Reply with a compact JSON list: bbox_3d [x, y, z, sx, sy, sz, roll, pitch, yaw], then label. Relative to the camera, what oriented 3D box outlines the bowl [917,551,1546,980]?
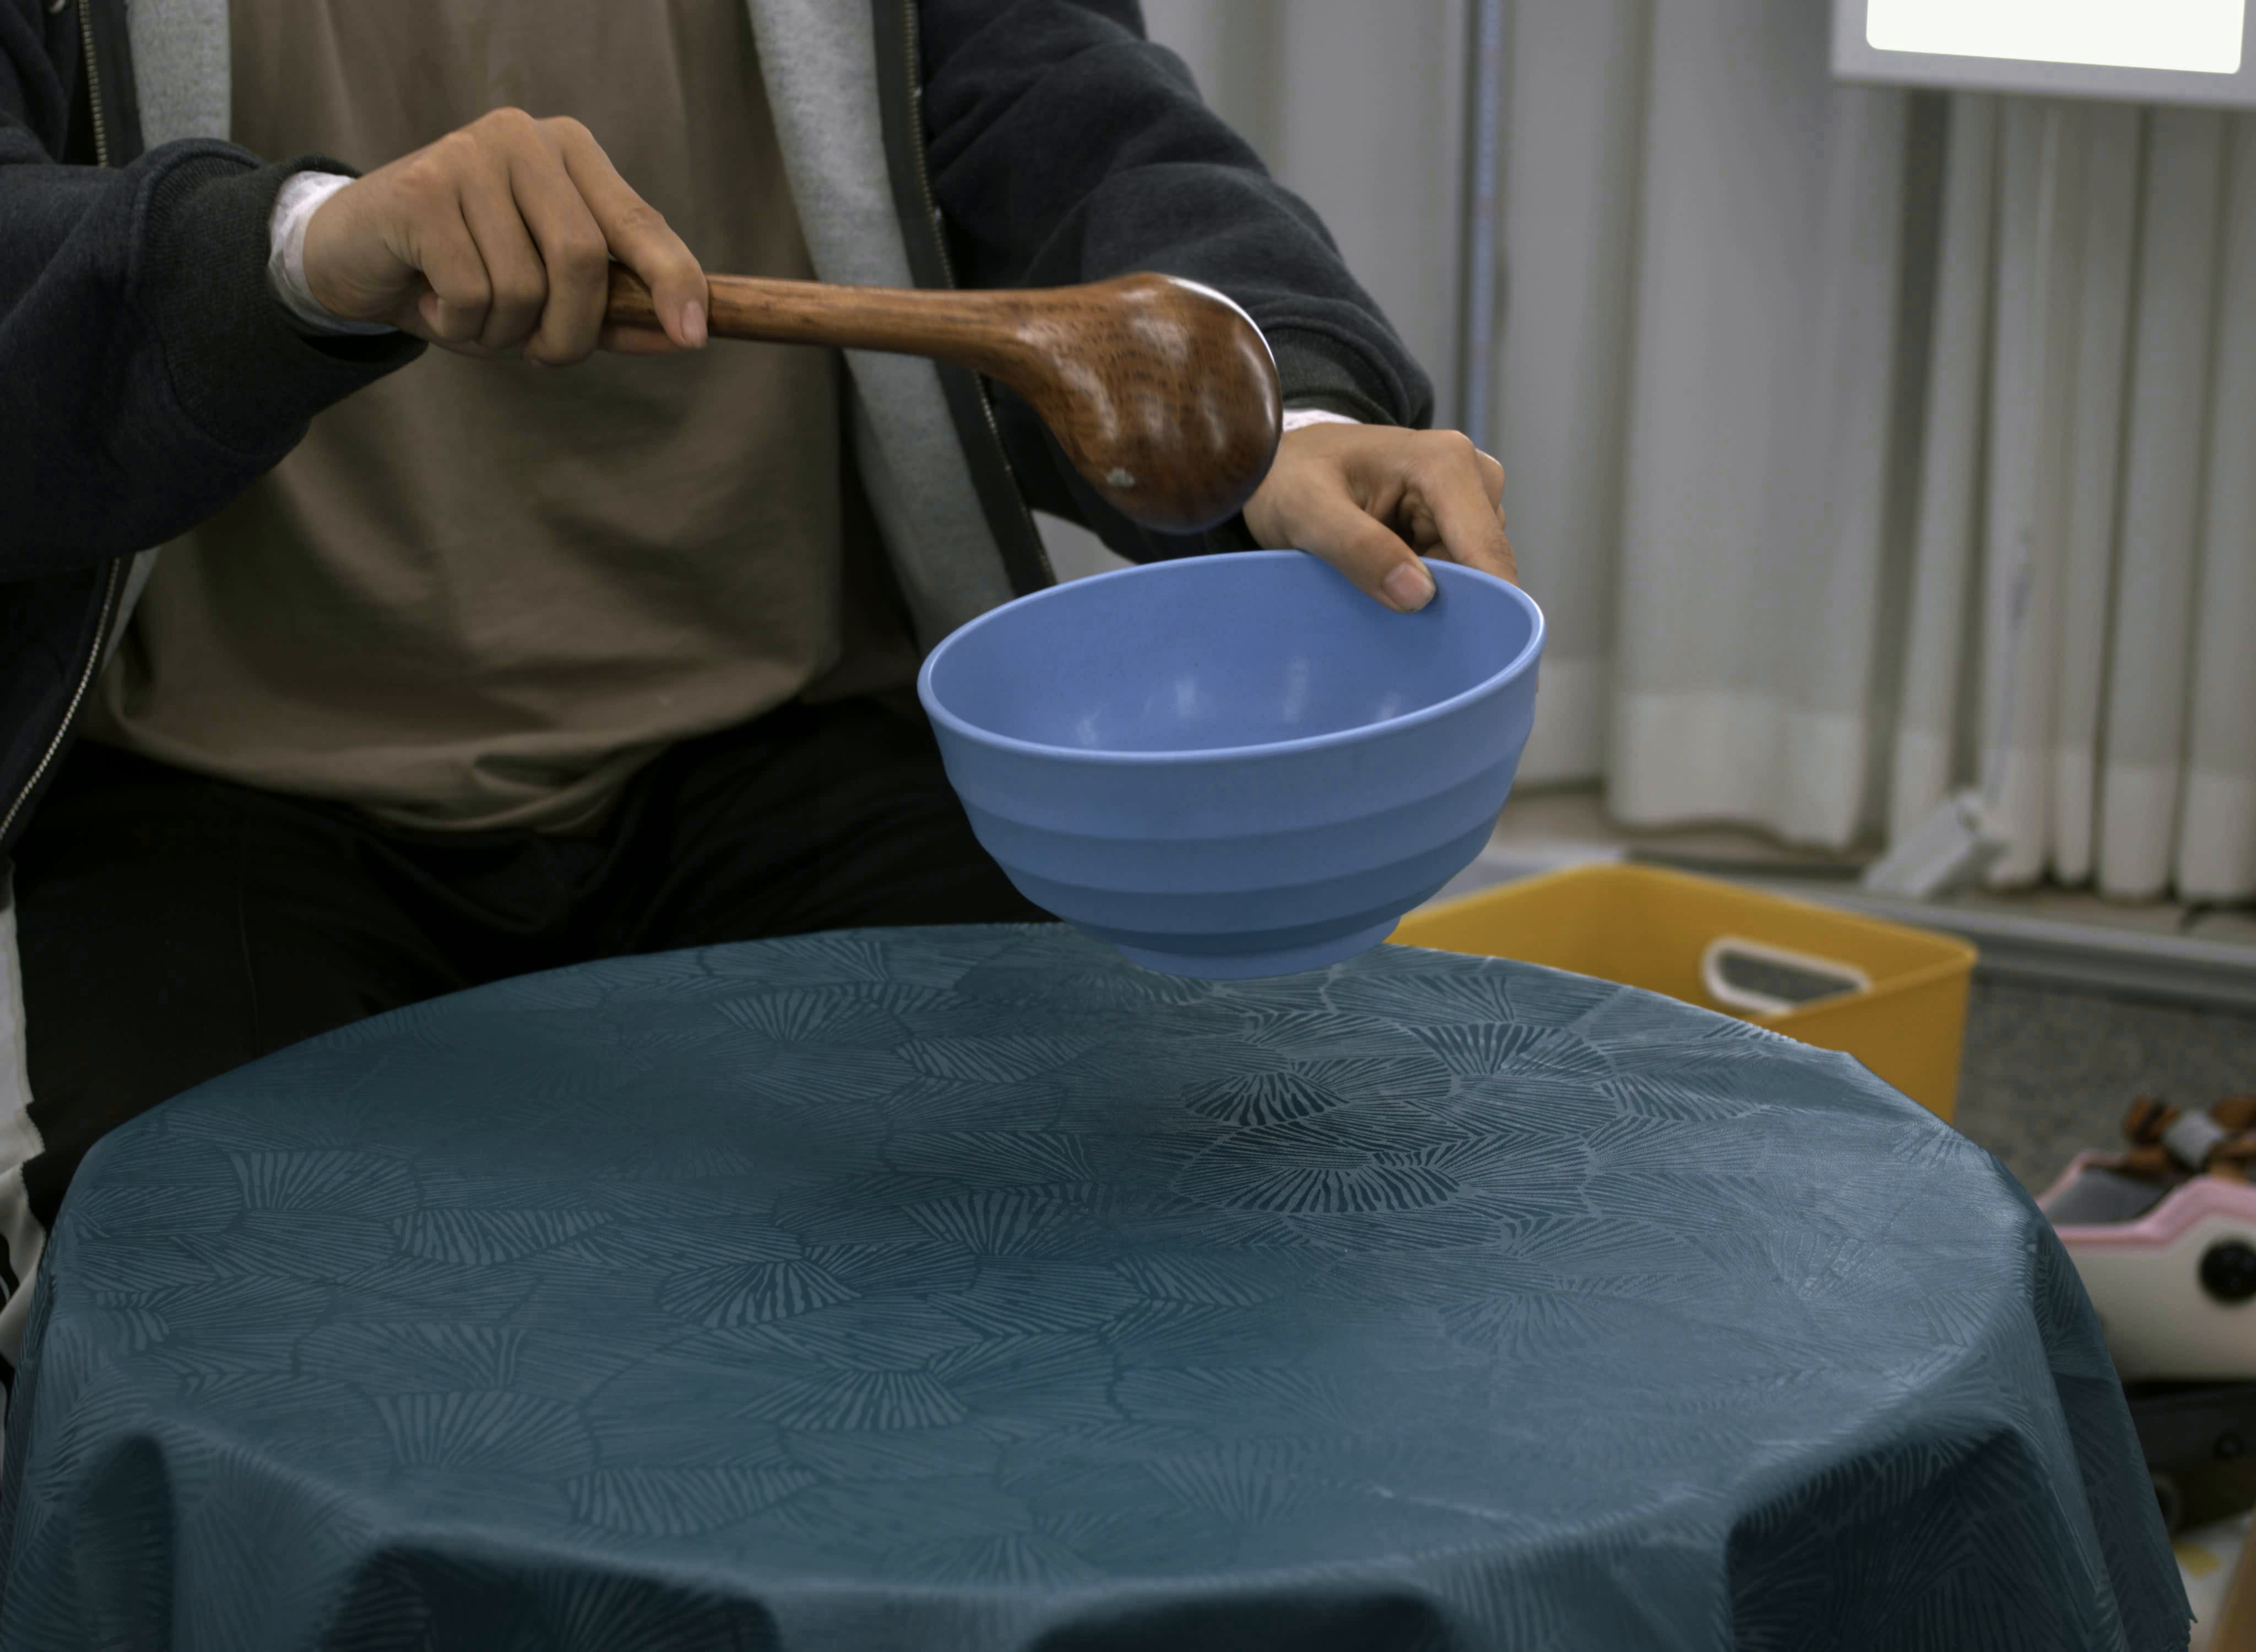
[{"bbox_3d":[0.037,-0.012,1.646,0.196,0.096,0.195,-5,20,3],"label":"bowl"}]

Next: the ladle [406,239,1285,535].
[{"bbox_3d":[-0.086,-0.144,1.620,0.271,0.077,0.081,7,62,18],"label":"ladle"}]
